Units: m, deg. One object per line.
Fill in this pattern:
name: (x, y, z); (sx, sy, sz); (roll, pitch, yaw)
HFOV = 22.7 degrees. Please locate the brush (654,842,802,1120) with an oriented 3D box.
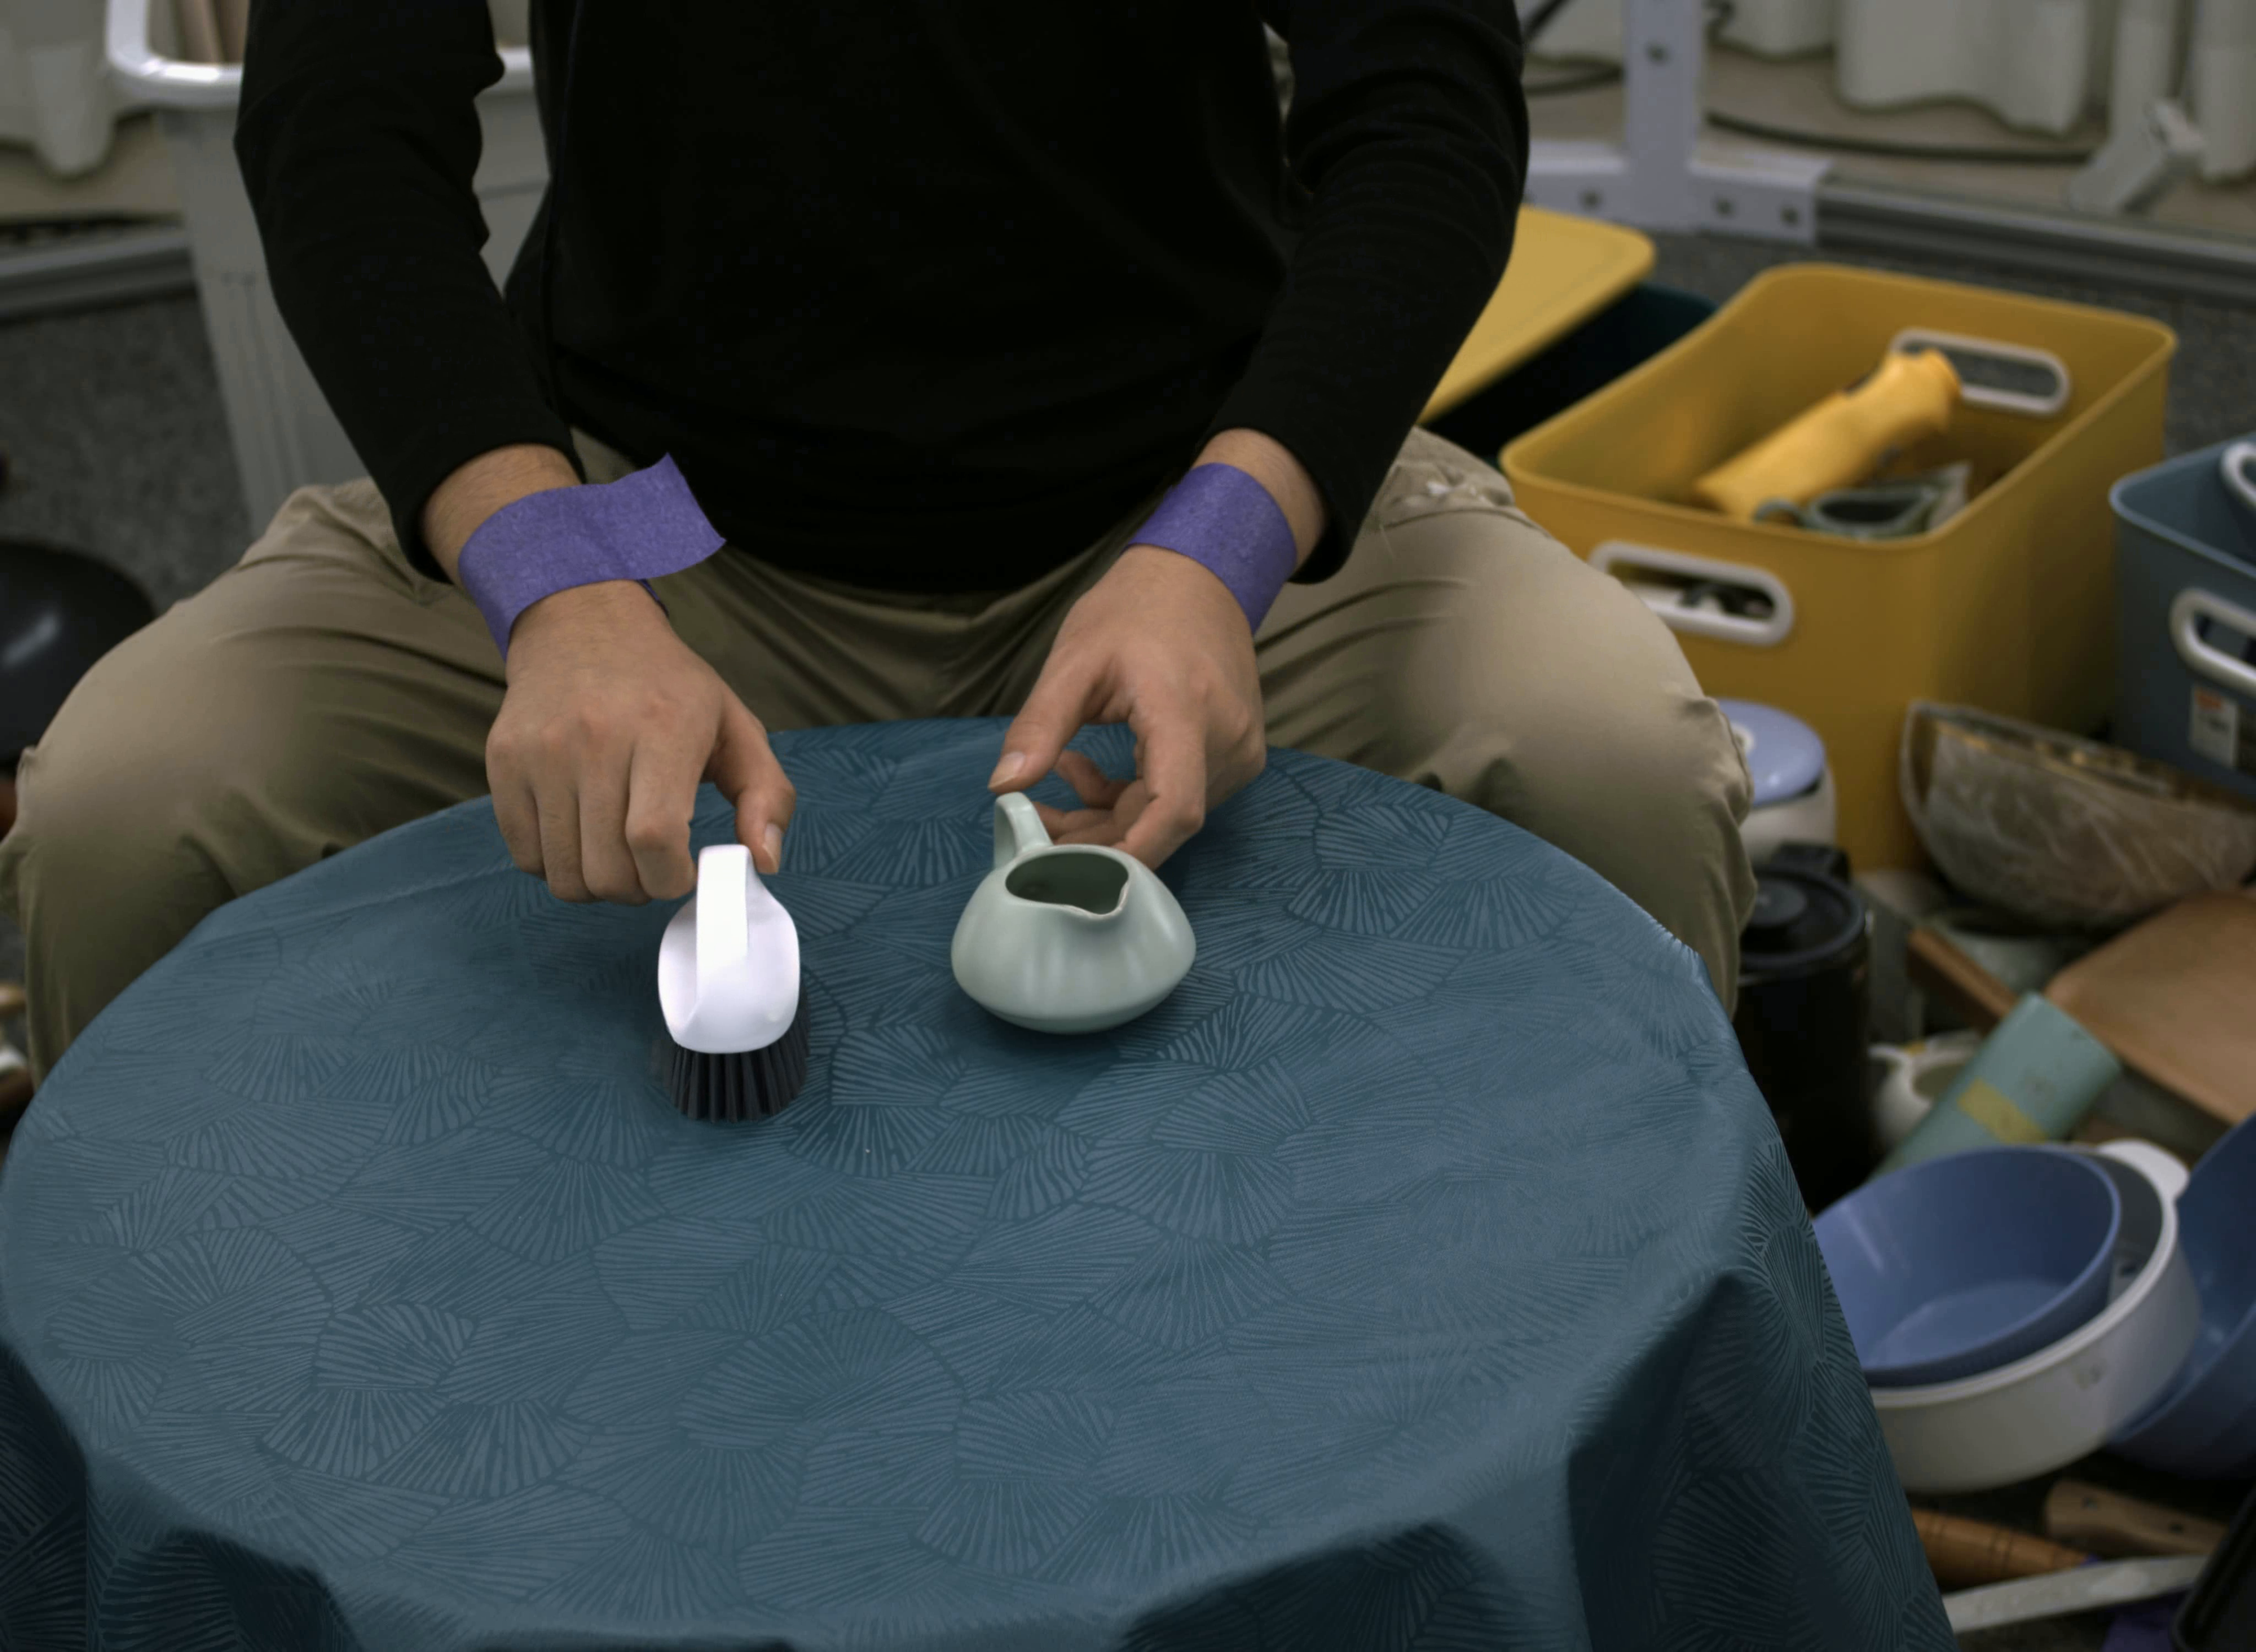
brush: (-0.139, 0.047, 1.941); (0.050, 0.072, 0.101); (-1, 28, 0)

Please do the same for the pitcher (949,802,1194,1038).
pitcher: (-0.025, 0.034, 1.975); (0.086, 0.060, 0.108); (-14, 26, -20)
